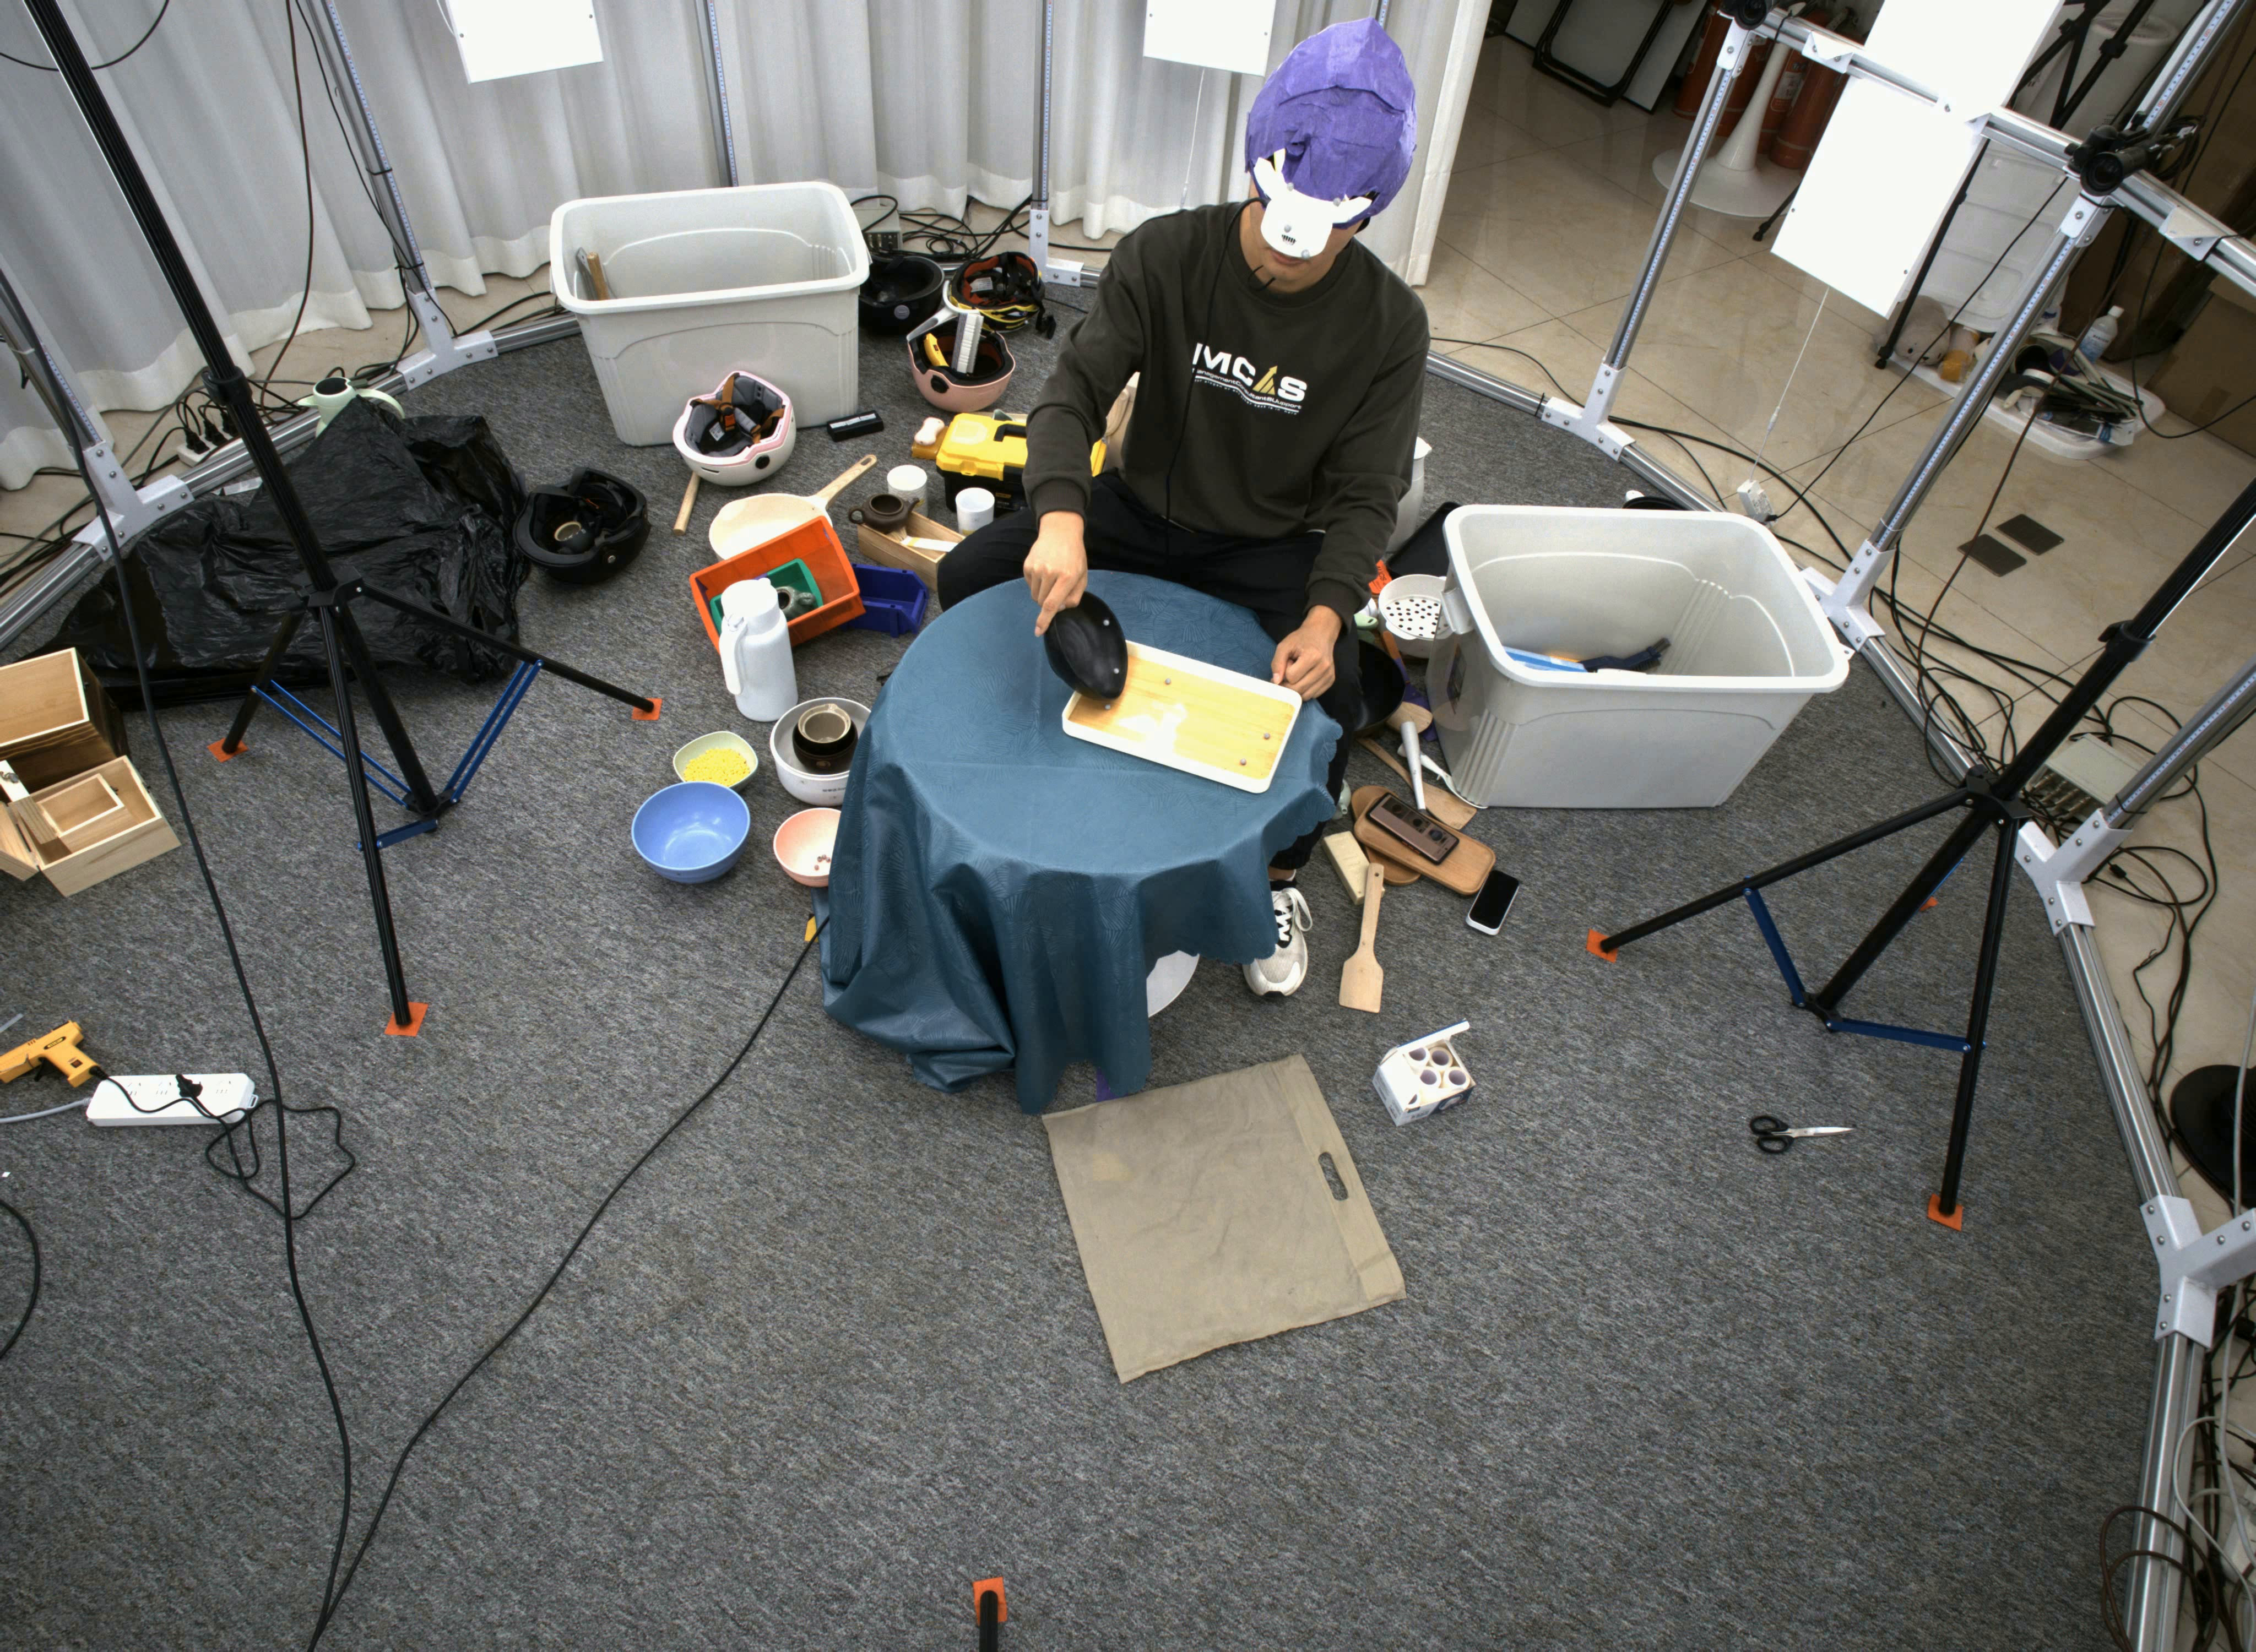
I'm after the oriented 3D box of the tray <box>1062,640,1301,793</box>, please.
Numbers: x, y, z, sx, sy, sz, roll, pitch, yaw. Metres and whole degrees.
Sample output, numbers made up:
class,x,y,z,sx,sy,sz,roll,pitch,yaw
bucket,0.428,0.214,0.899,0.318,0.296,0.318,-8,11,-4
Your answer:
class,x,y,z,sx,sy,sz,roll,pitch,yaw
tray,0.076,-0.158,1.790,0.301,0.027,0.195,18,50,11

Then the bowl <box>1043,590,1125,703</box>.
class,x,y,z,sx,sy,sz,roll,pitch,yaw
bowl,-0.068,-0.244,1.775,0.066,0.167,0.140,-10,44,37
